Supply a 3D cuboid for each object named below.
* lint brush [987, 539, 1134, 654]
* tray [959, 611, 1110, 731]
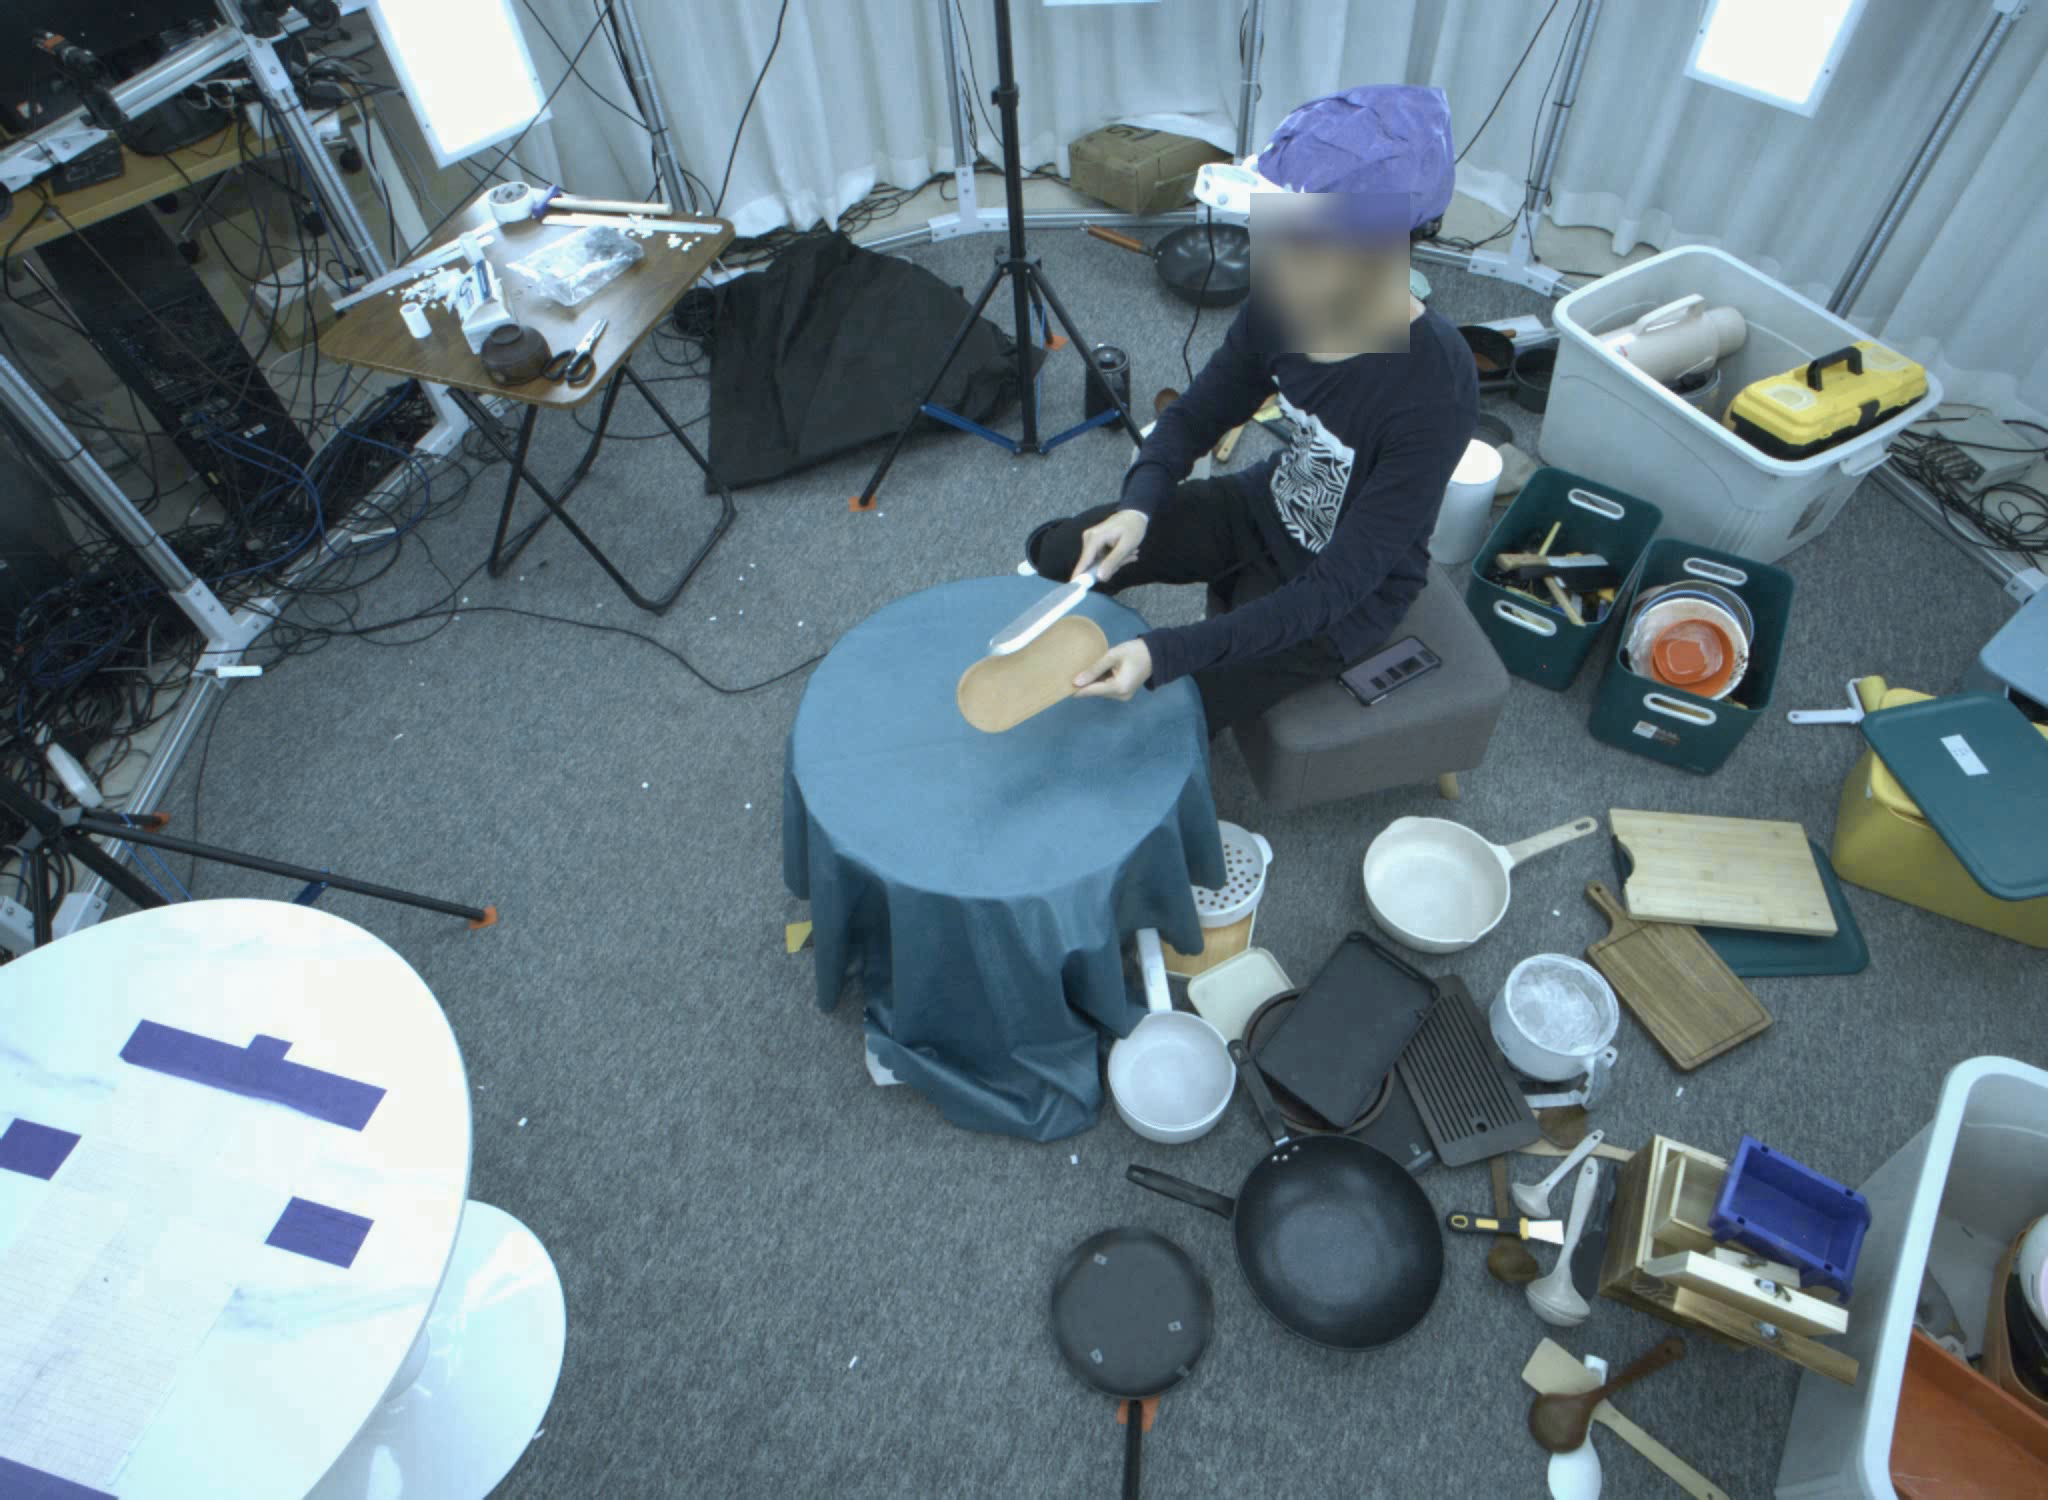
[{"bbox_3d":[0.058,-0.220,1.731,0.059,0.021,0.311,0,34,50],"label":"lint brush"},{"bbox_3d":[0.015,-0.109,1.697,0.233,0.020,0.102,-31,103,-15],"label":"tray"}]
